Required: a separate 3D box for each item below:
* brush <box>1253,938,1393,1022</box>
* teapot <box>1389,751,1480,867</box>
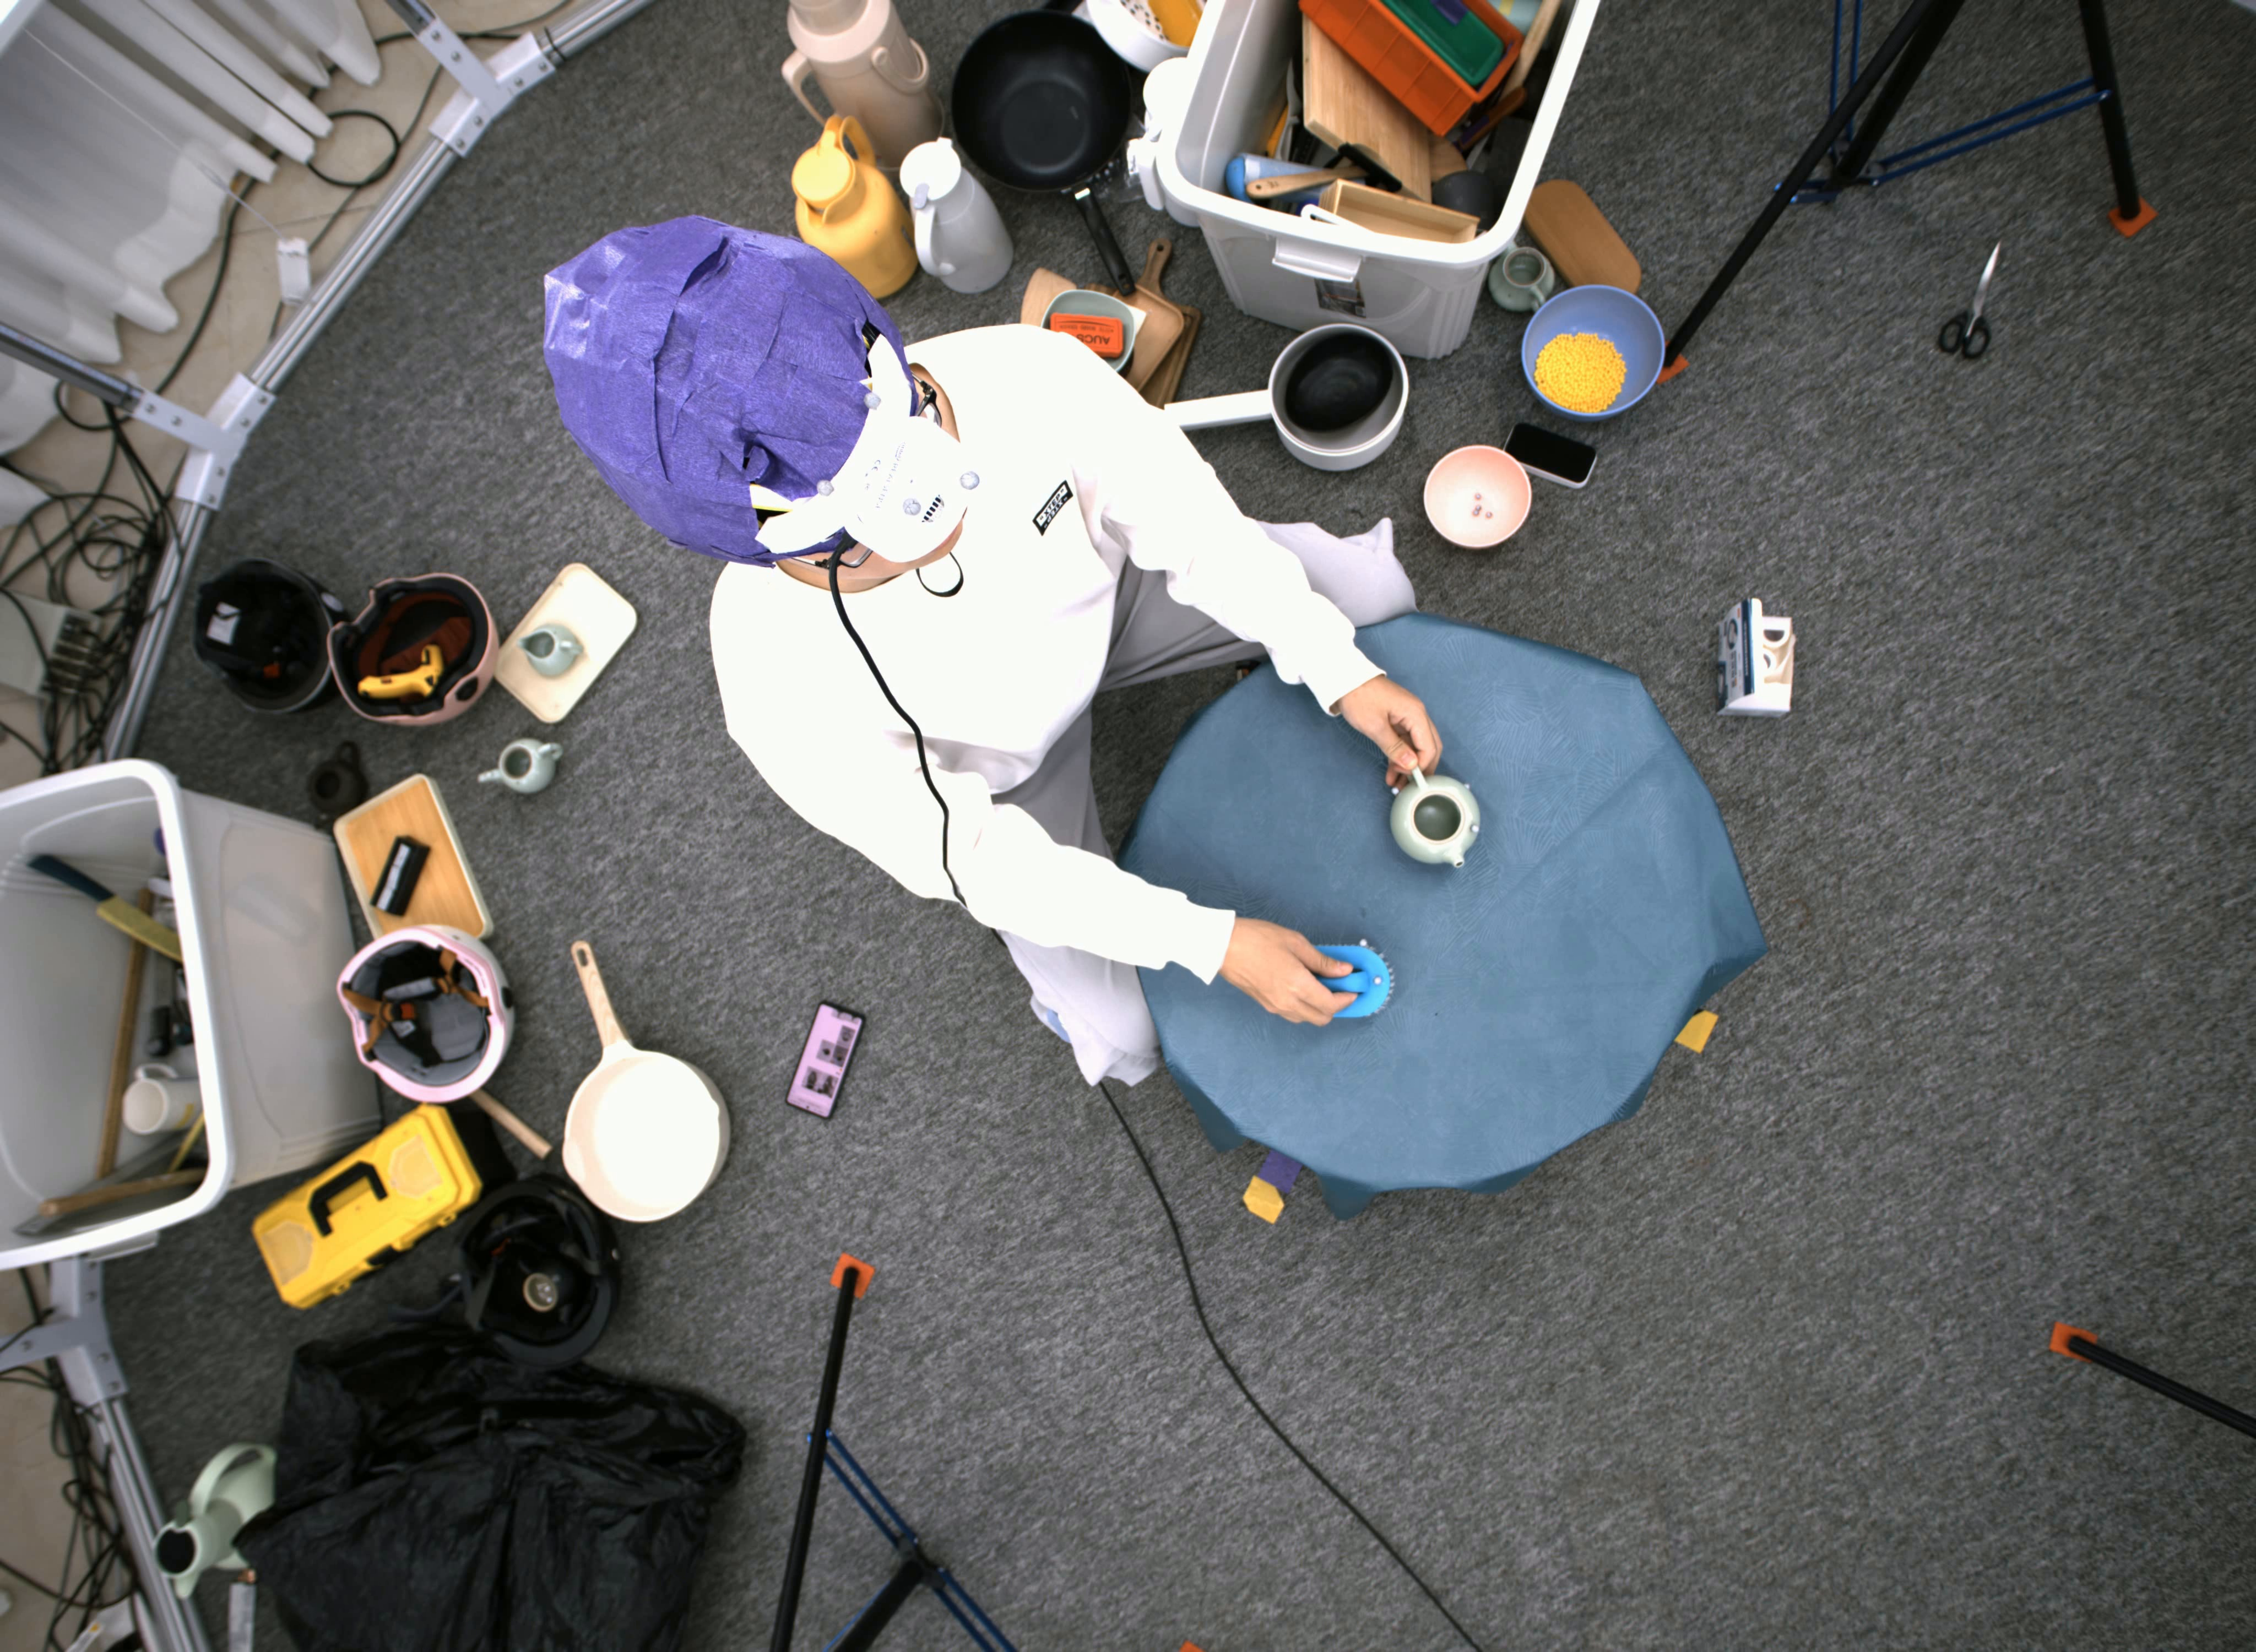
[{"bbox_3d":[0.197,0.157,1.414,0.142,0.063,0.084,-1,92,17],"label":"brush"},{"bbox_3d":[0.311,-0.019,1.414,0.092,0.061,0.128,-21,87,9],"label":"teapot"}]
